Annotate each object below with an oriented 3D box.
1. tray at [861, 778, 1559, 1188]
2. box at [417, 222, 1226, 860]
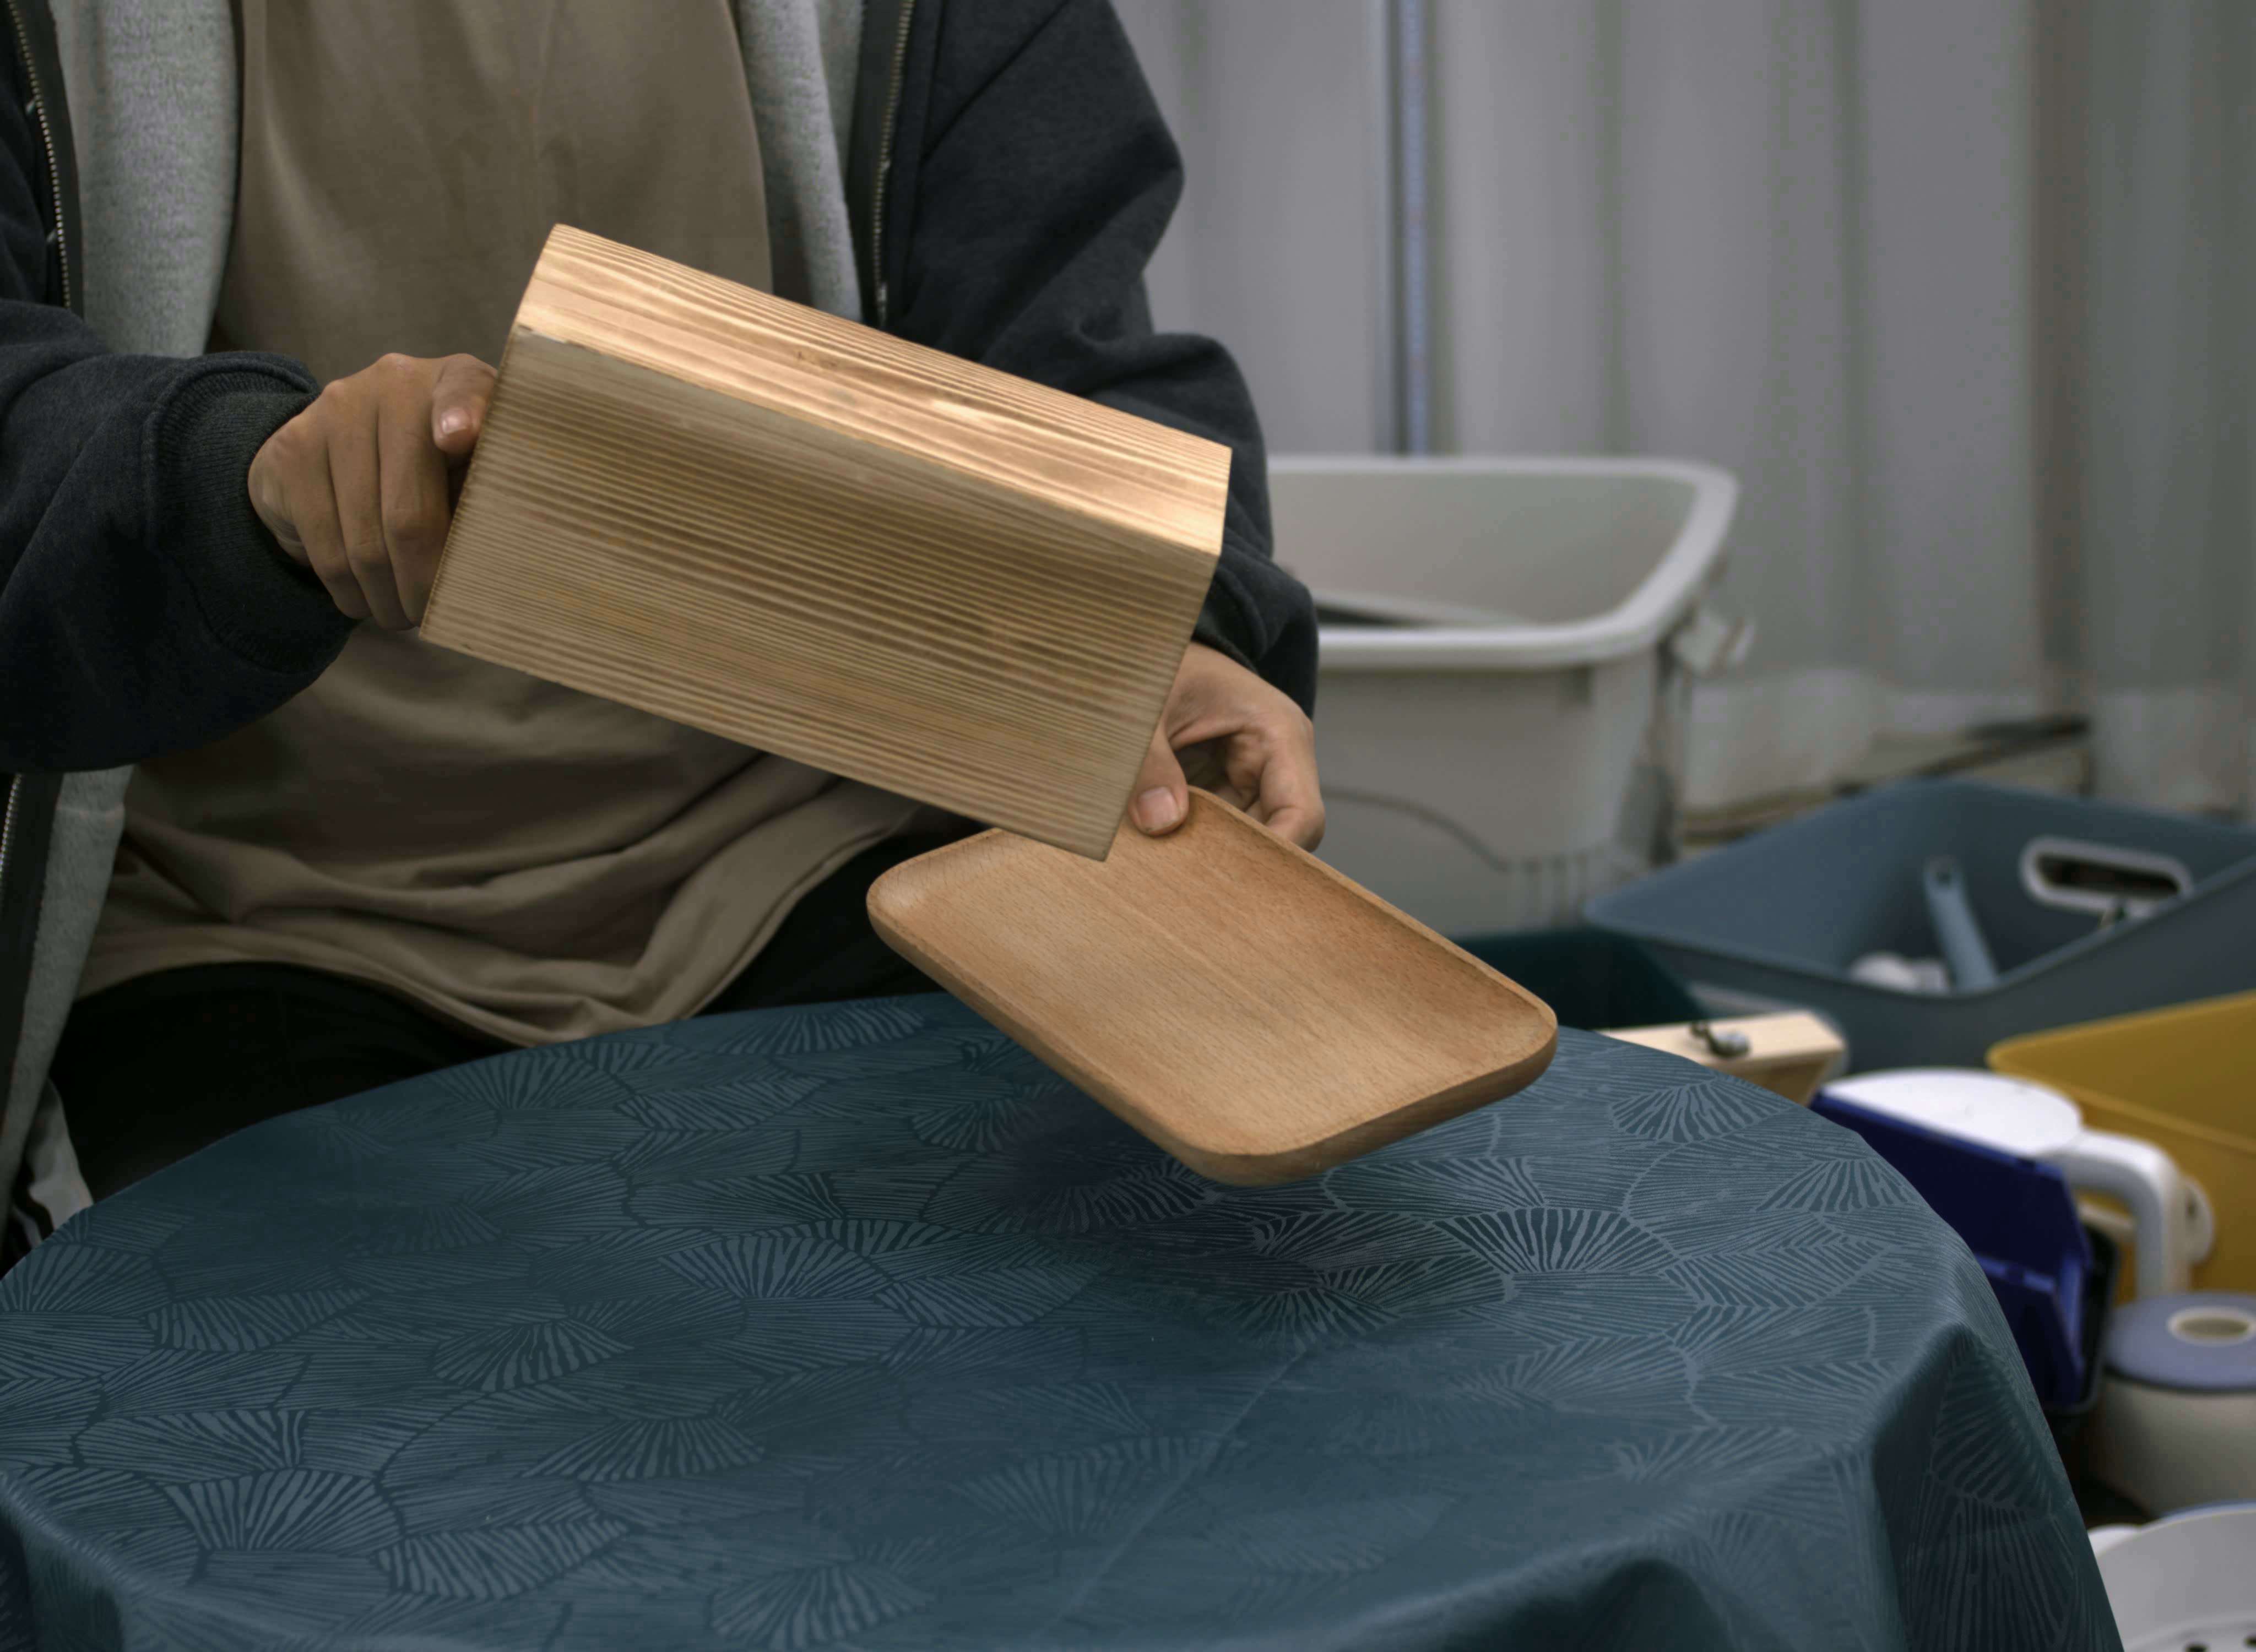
[{"bbox_3d":[0.021,0.045,1.684,0.130,0.023,0.253,-17,26,-24],"label":"tray"},{"bbox_3d":[-0.088,-0.084,1.602,0.210,0.107,0.081,19,26,-4],"label":"box"}]
